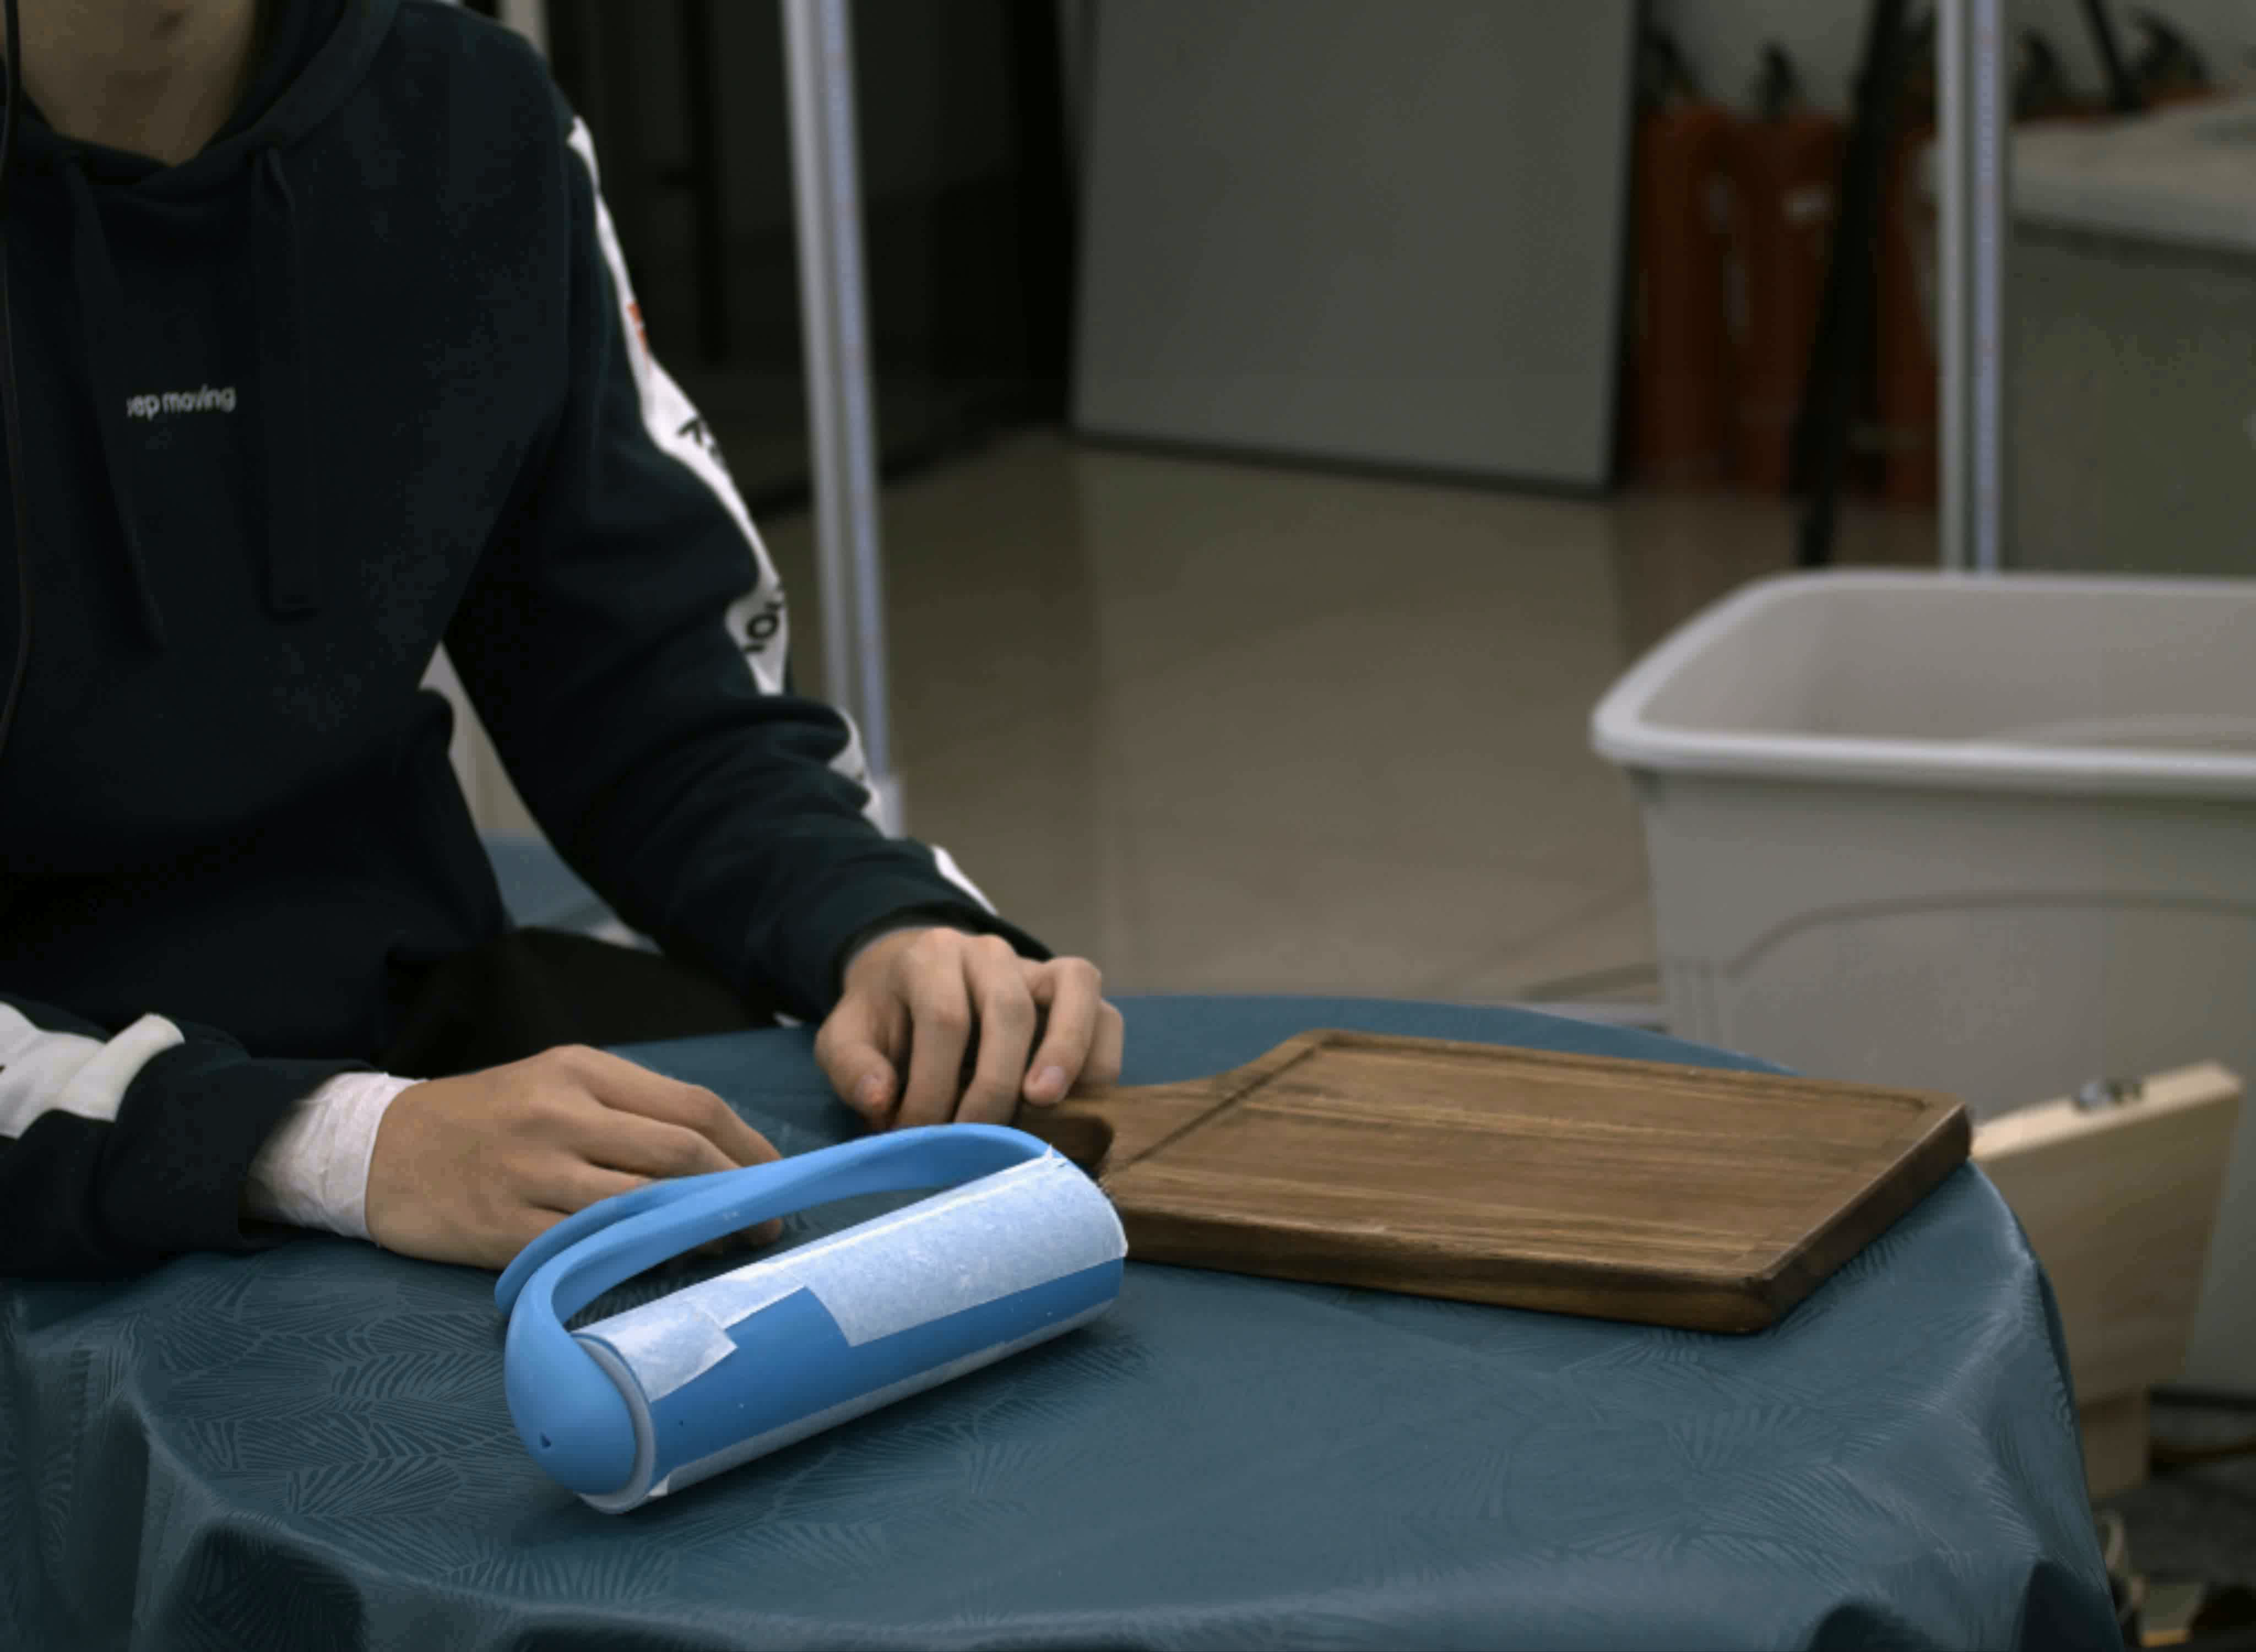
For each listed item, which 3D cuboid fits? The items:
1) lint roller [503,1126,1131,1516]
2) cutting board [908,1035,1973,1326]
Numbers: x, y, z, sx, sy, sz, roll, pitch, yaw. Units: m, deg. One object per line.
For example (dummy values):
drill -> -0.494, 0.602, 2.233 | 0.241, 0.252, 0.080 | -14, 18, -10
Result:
lint roller -> -0.127, 0.139, 1.617 | 0.182, 0.068, 0.224 | 9, 20, 41
cutting board -> 0.082, 0.107, 1.757 | 0.353, 0.023, 0.198 | 4, 15, 29
